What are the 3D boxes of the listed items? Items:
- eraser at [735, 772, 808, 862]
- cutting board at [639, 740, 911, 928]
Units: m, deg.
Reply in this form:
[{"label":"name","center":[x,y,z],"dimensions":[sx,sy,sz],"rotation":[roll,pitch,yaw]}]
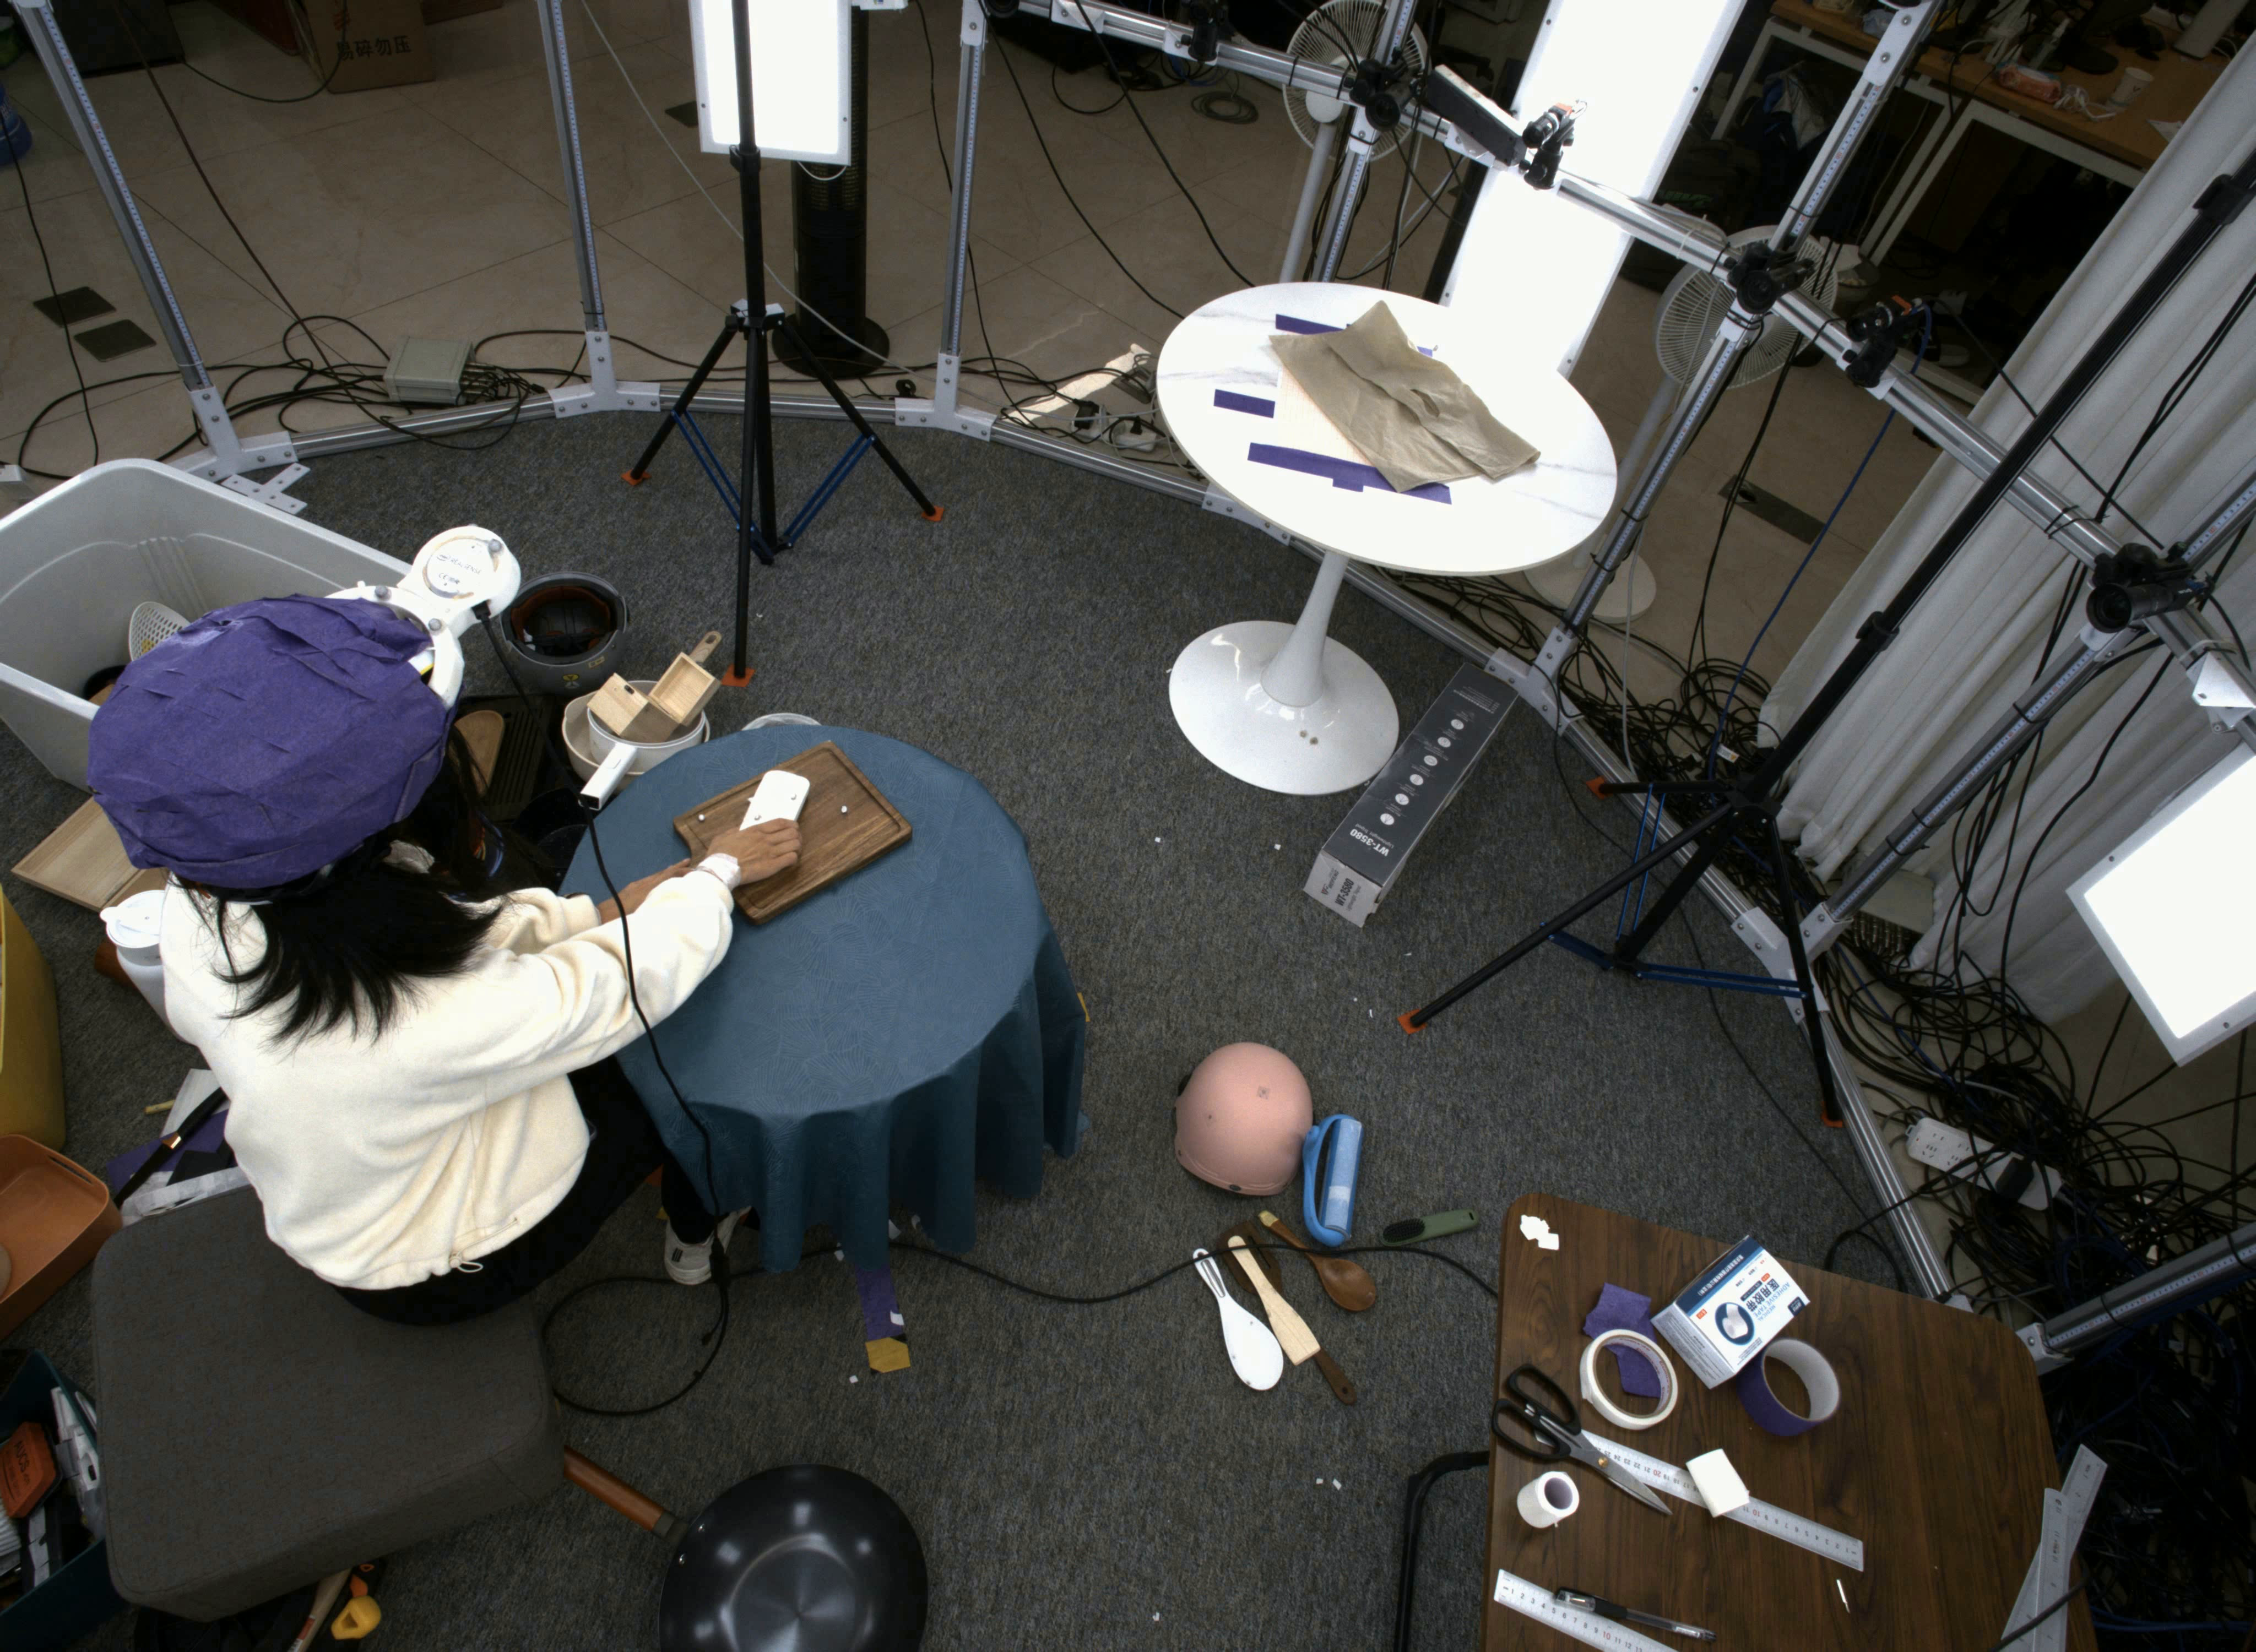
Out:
[{"label":"eraser","center":[-0.463,-0.015,1.681],"dimensions":[0.063,0.035,0.129],"rotation":[15,51,-2]},{"label":"cutting board","center":[-0.475,0.025,1.673],"dimensions":[0.353,0.023,0.196],"rotation":[-33,67,-33]}]
